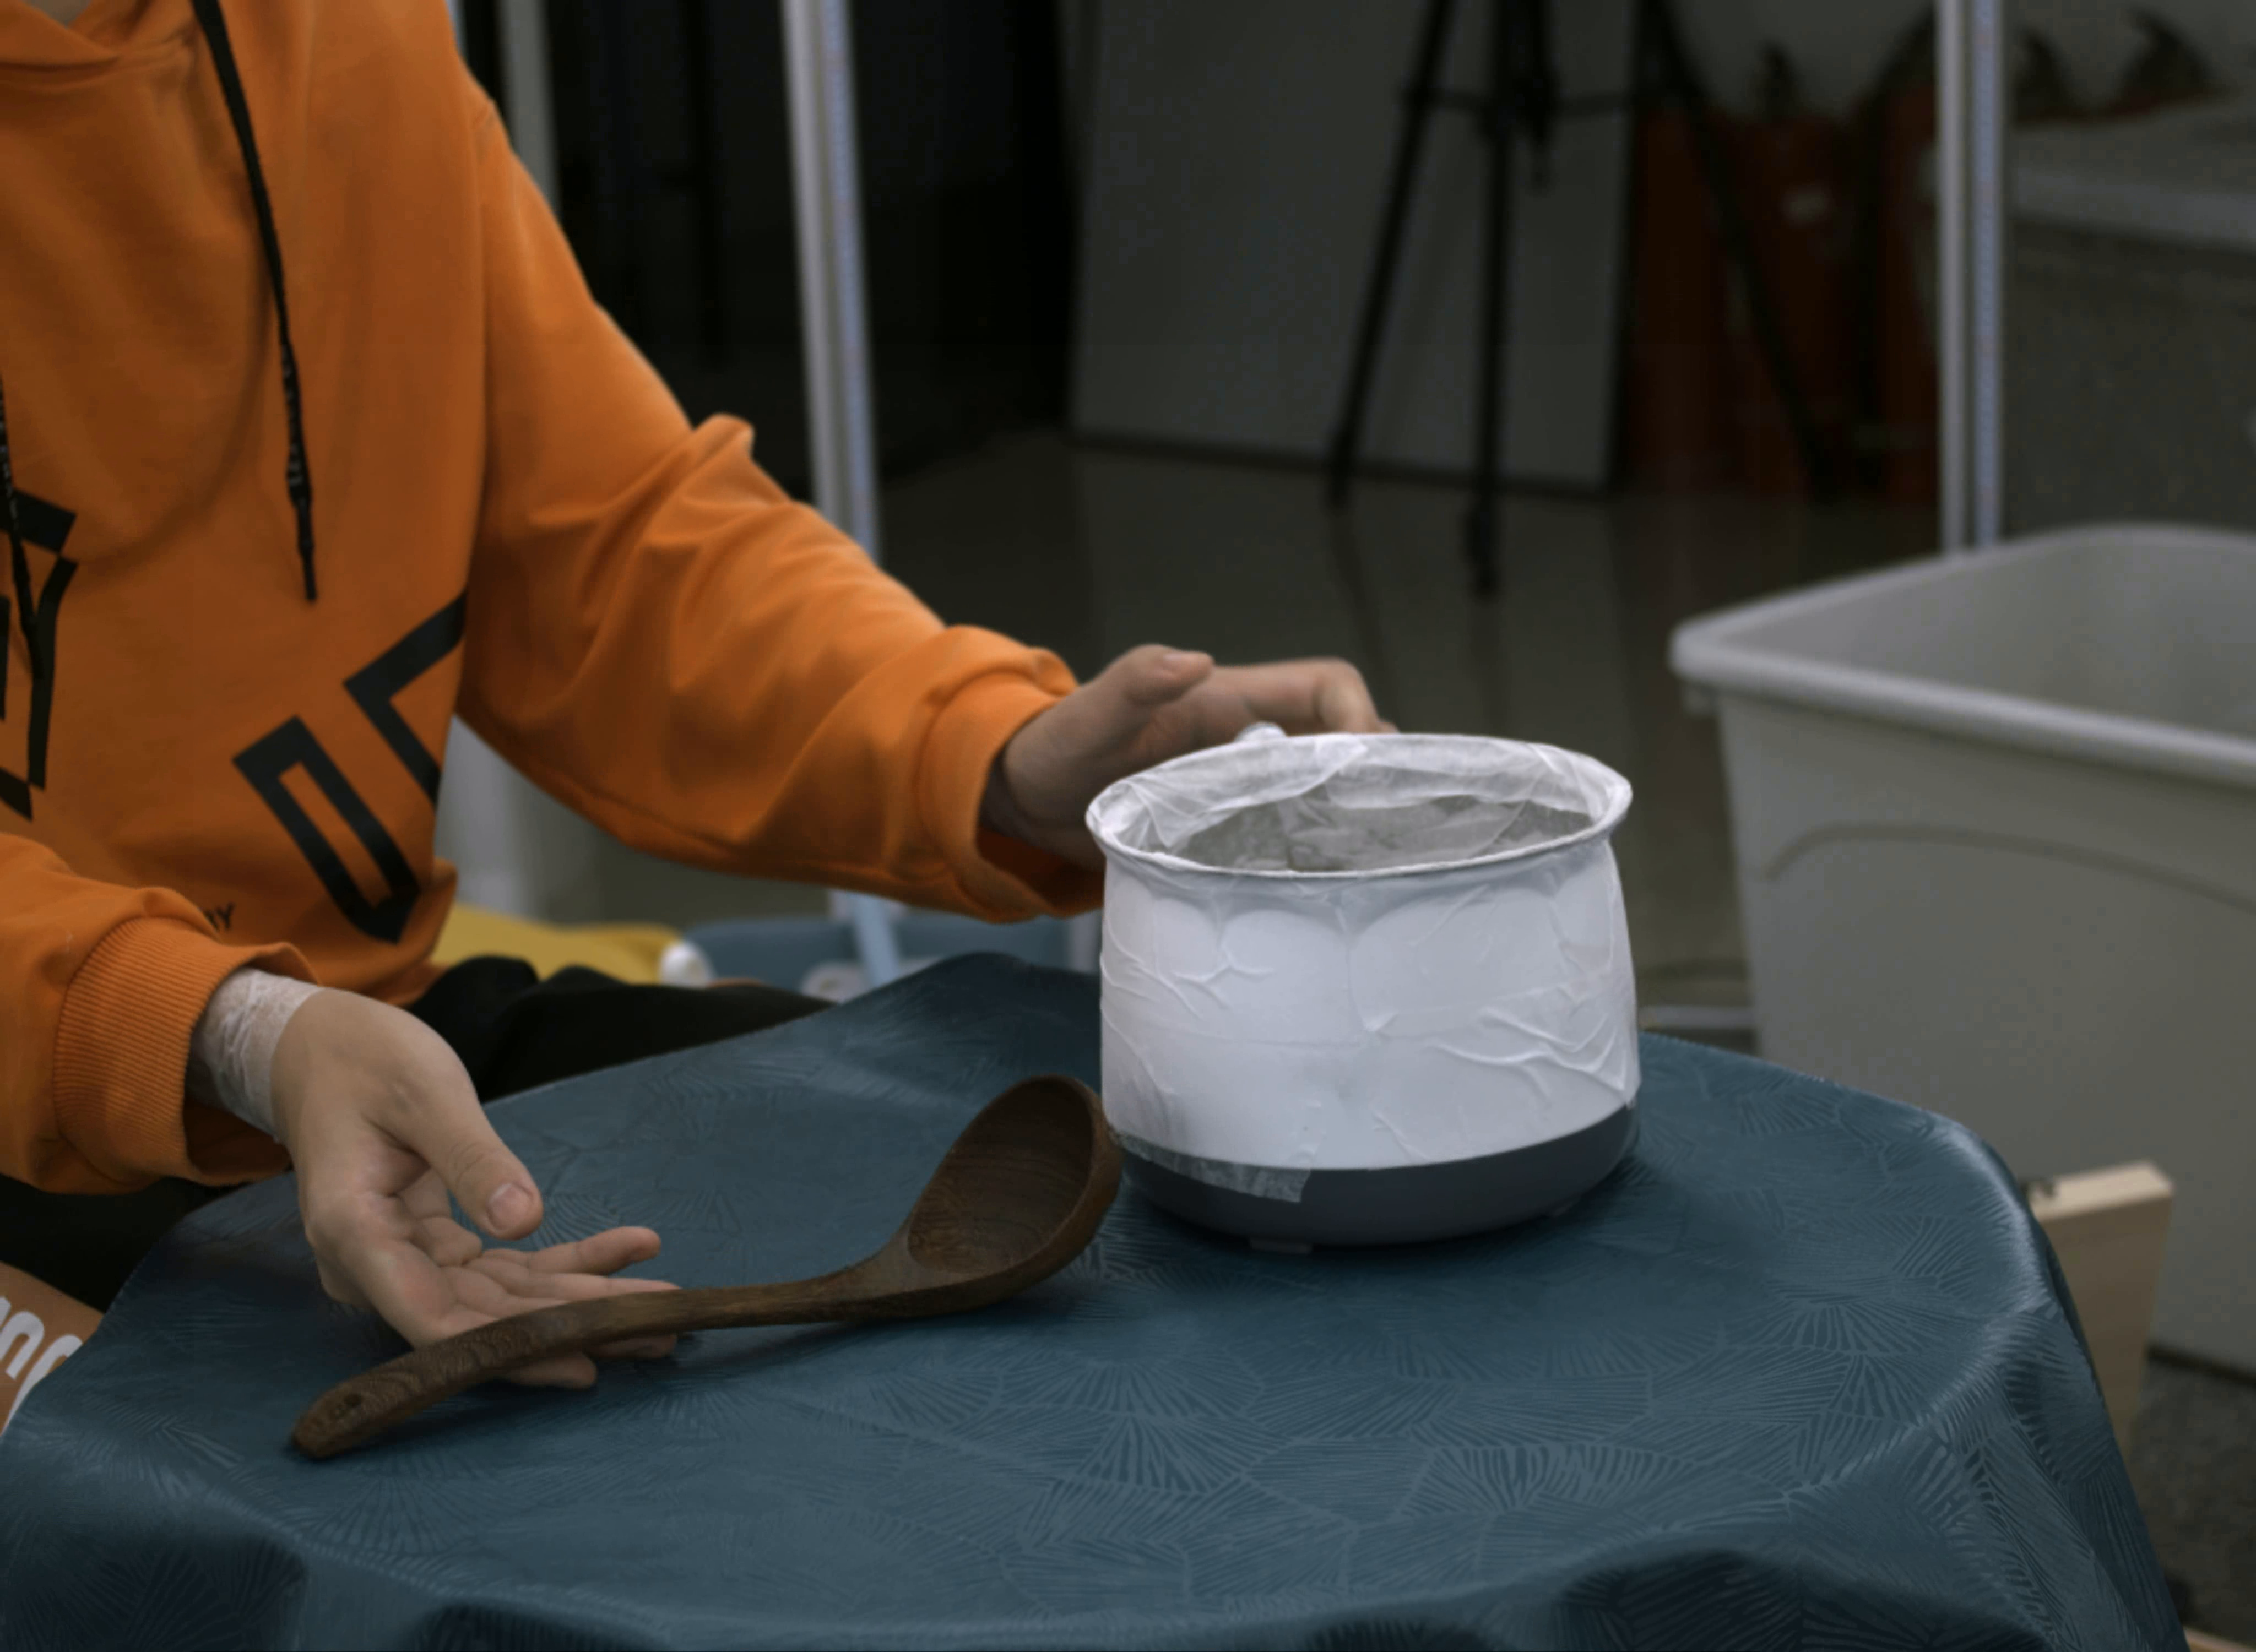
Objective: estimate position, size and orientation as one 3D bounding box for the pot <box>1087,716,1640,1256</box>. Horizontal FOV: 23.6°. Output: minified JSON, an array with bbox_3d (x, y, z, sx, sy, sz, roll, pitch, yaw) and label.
[{"bbox_3d":[0.068,0.046,1.766,0.175,0.138,0.236,-7,14,-16],"label":"pot"}]

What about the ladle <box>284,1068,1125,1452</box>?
[{"bbox_3d":[-0.125,0.128,1.627,0.268,0.072,0.077,-9,17,-26],"label":"ladle"}]
